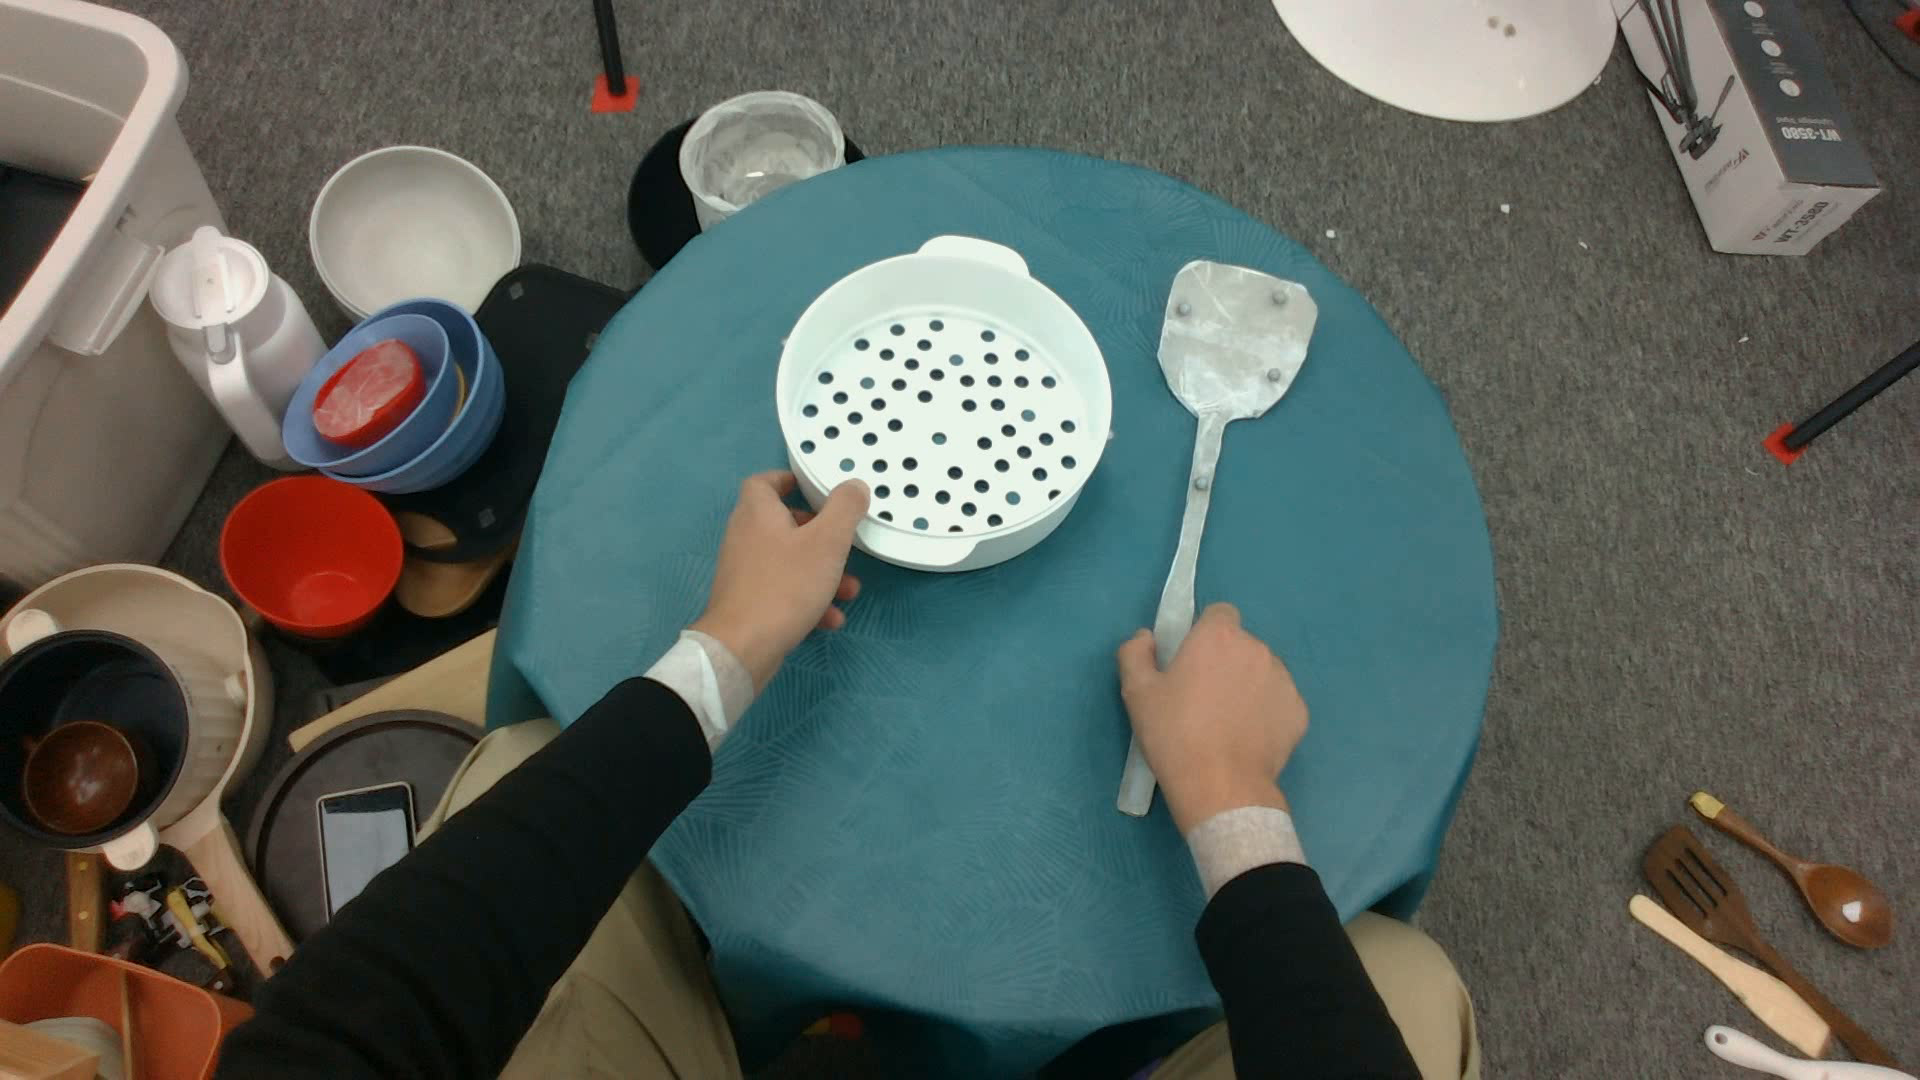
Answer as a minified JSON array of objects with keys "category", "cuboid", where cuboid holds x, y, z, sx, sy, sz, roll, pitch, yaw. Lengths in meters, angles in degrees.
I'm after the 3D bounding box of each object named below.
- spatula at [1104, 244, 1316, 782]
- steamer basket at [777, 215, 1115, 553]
[{"category":"spatula","cuboid":[0.143,-0.024,0.850,0.099,0.044,0.366,17,64,-1]},{"category":"steamer basket","cuboid":[-0.009,-0.089,0.848,0.202,0.069,0.231,11,65,1]}]
